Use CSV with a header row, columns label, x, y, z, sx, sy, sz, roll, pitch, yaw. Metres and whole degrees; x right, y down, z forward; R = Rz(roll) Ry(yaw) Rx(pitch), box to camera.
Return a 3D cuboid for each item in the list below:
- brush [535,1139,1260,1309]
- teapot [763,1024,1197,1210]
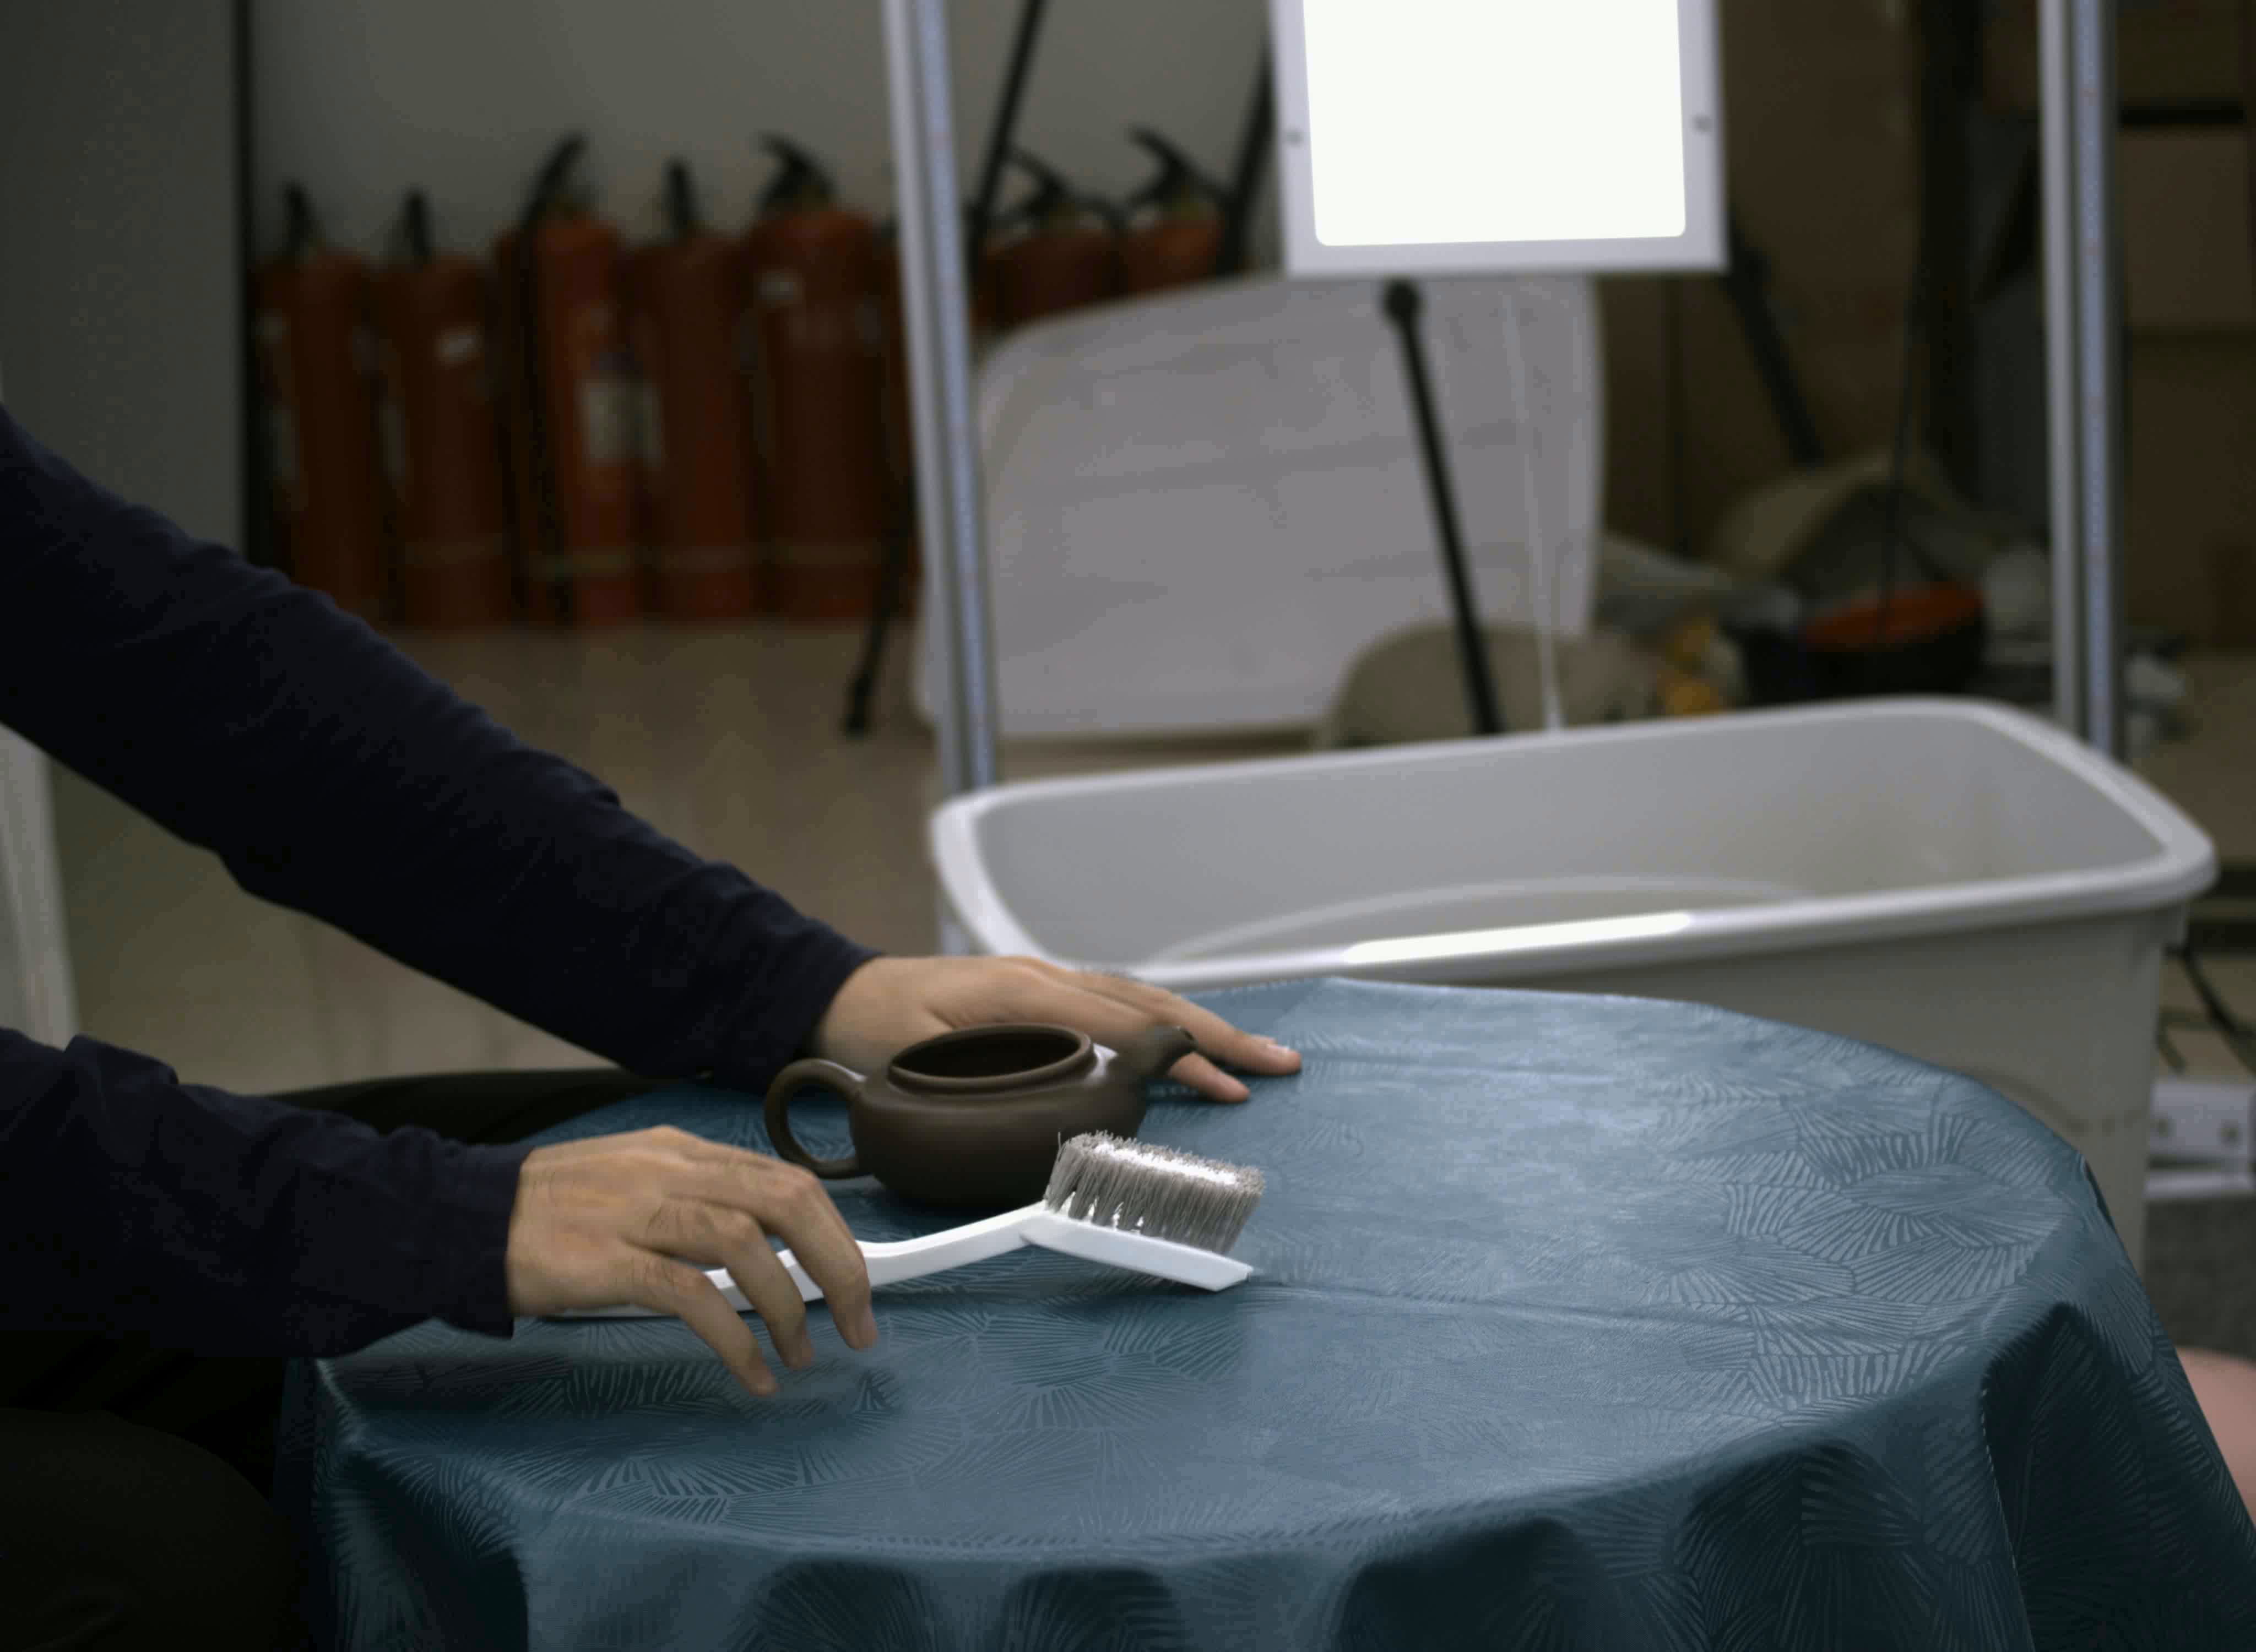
label,x,y,z,sx,sy,sz,roll,pitch,yaw
brush,-0.077,0.131,1.807,0.245,0.050,0.034,-2,17,10
teapot,-0.051,0.100,1.916,0.153,0.054,0.102,-5,13,2
